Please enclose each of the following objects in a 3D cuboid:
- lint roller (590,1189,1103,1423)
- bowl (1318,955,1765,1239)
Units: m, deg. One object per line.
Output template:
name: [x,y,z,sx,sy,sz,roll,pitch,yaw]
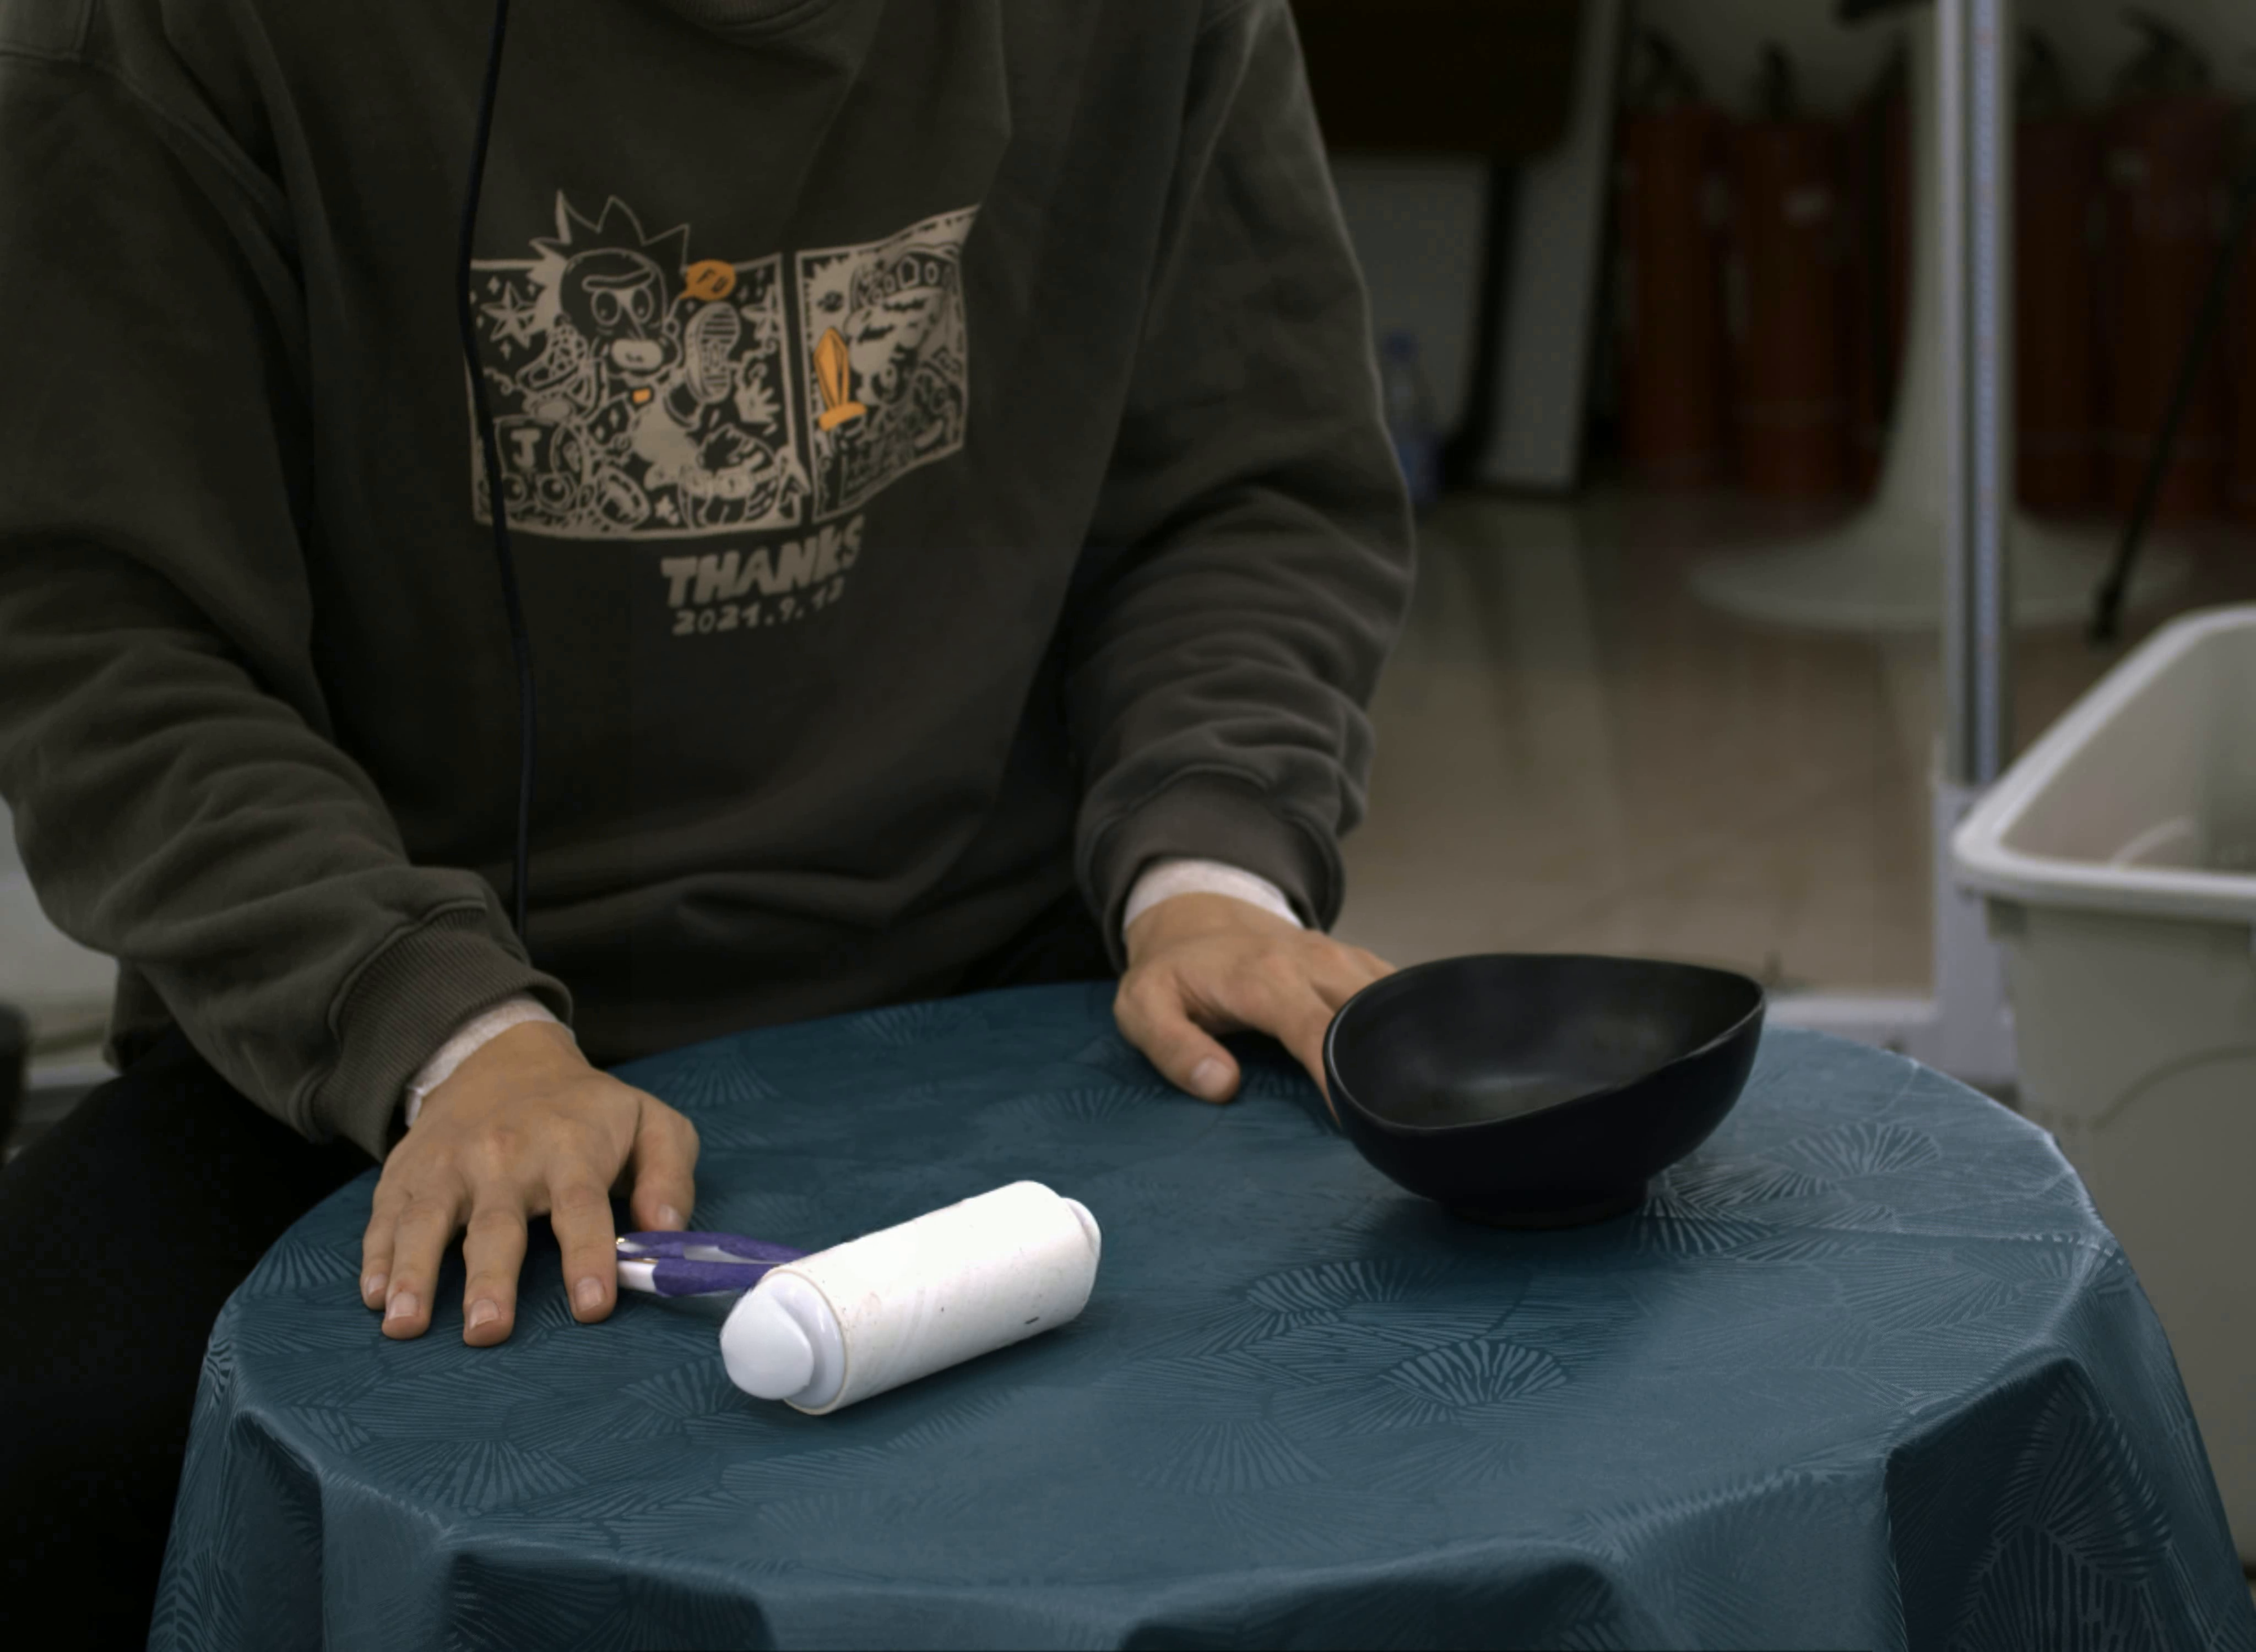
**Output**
lint roller: [-0.105,0.132,1.662,0.130,0.051,0.182,-15,20,-39]
bowl: [0.135,0.091,1.728,0.138,0.067,0.167,3,16,32]
